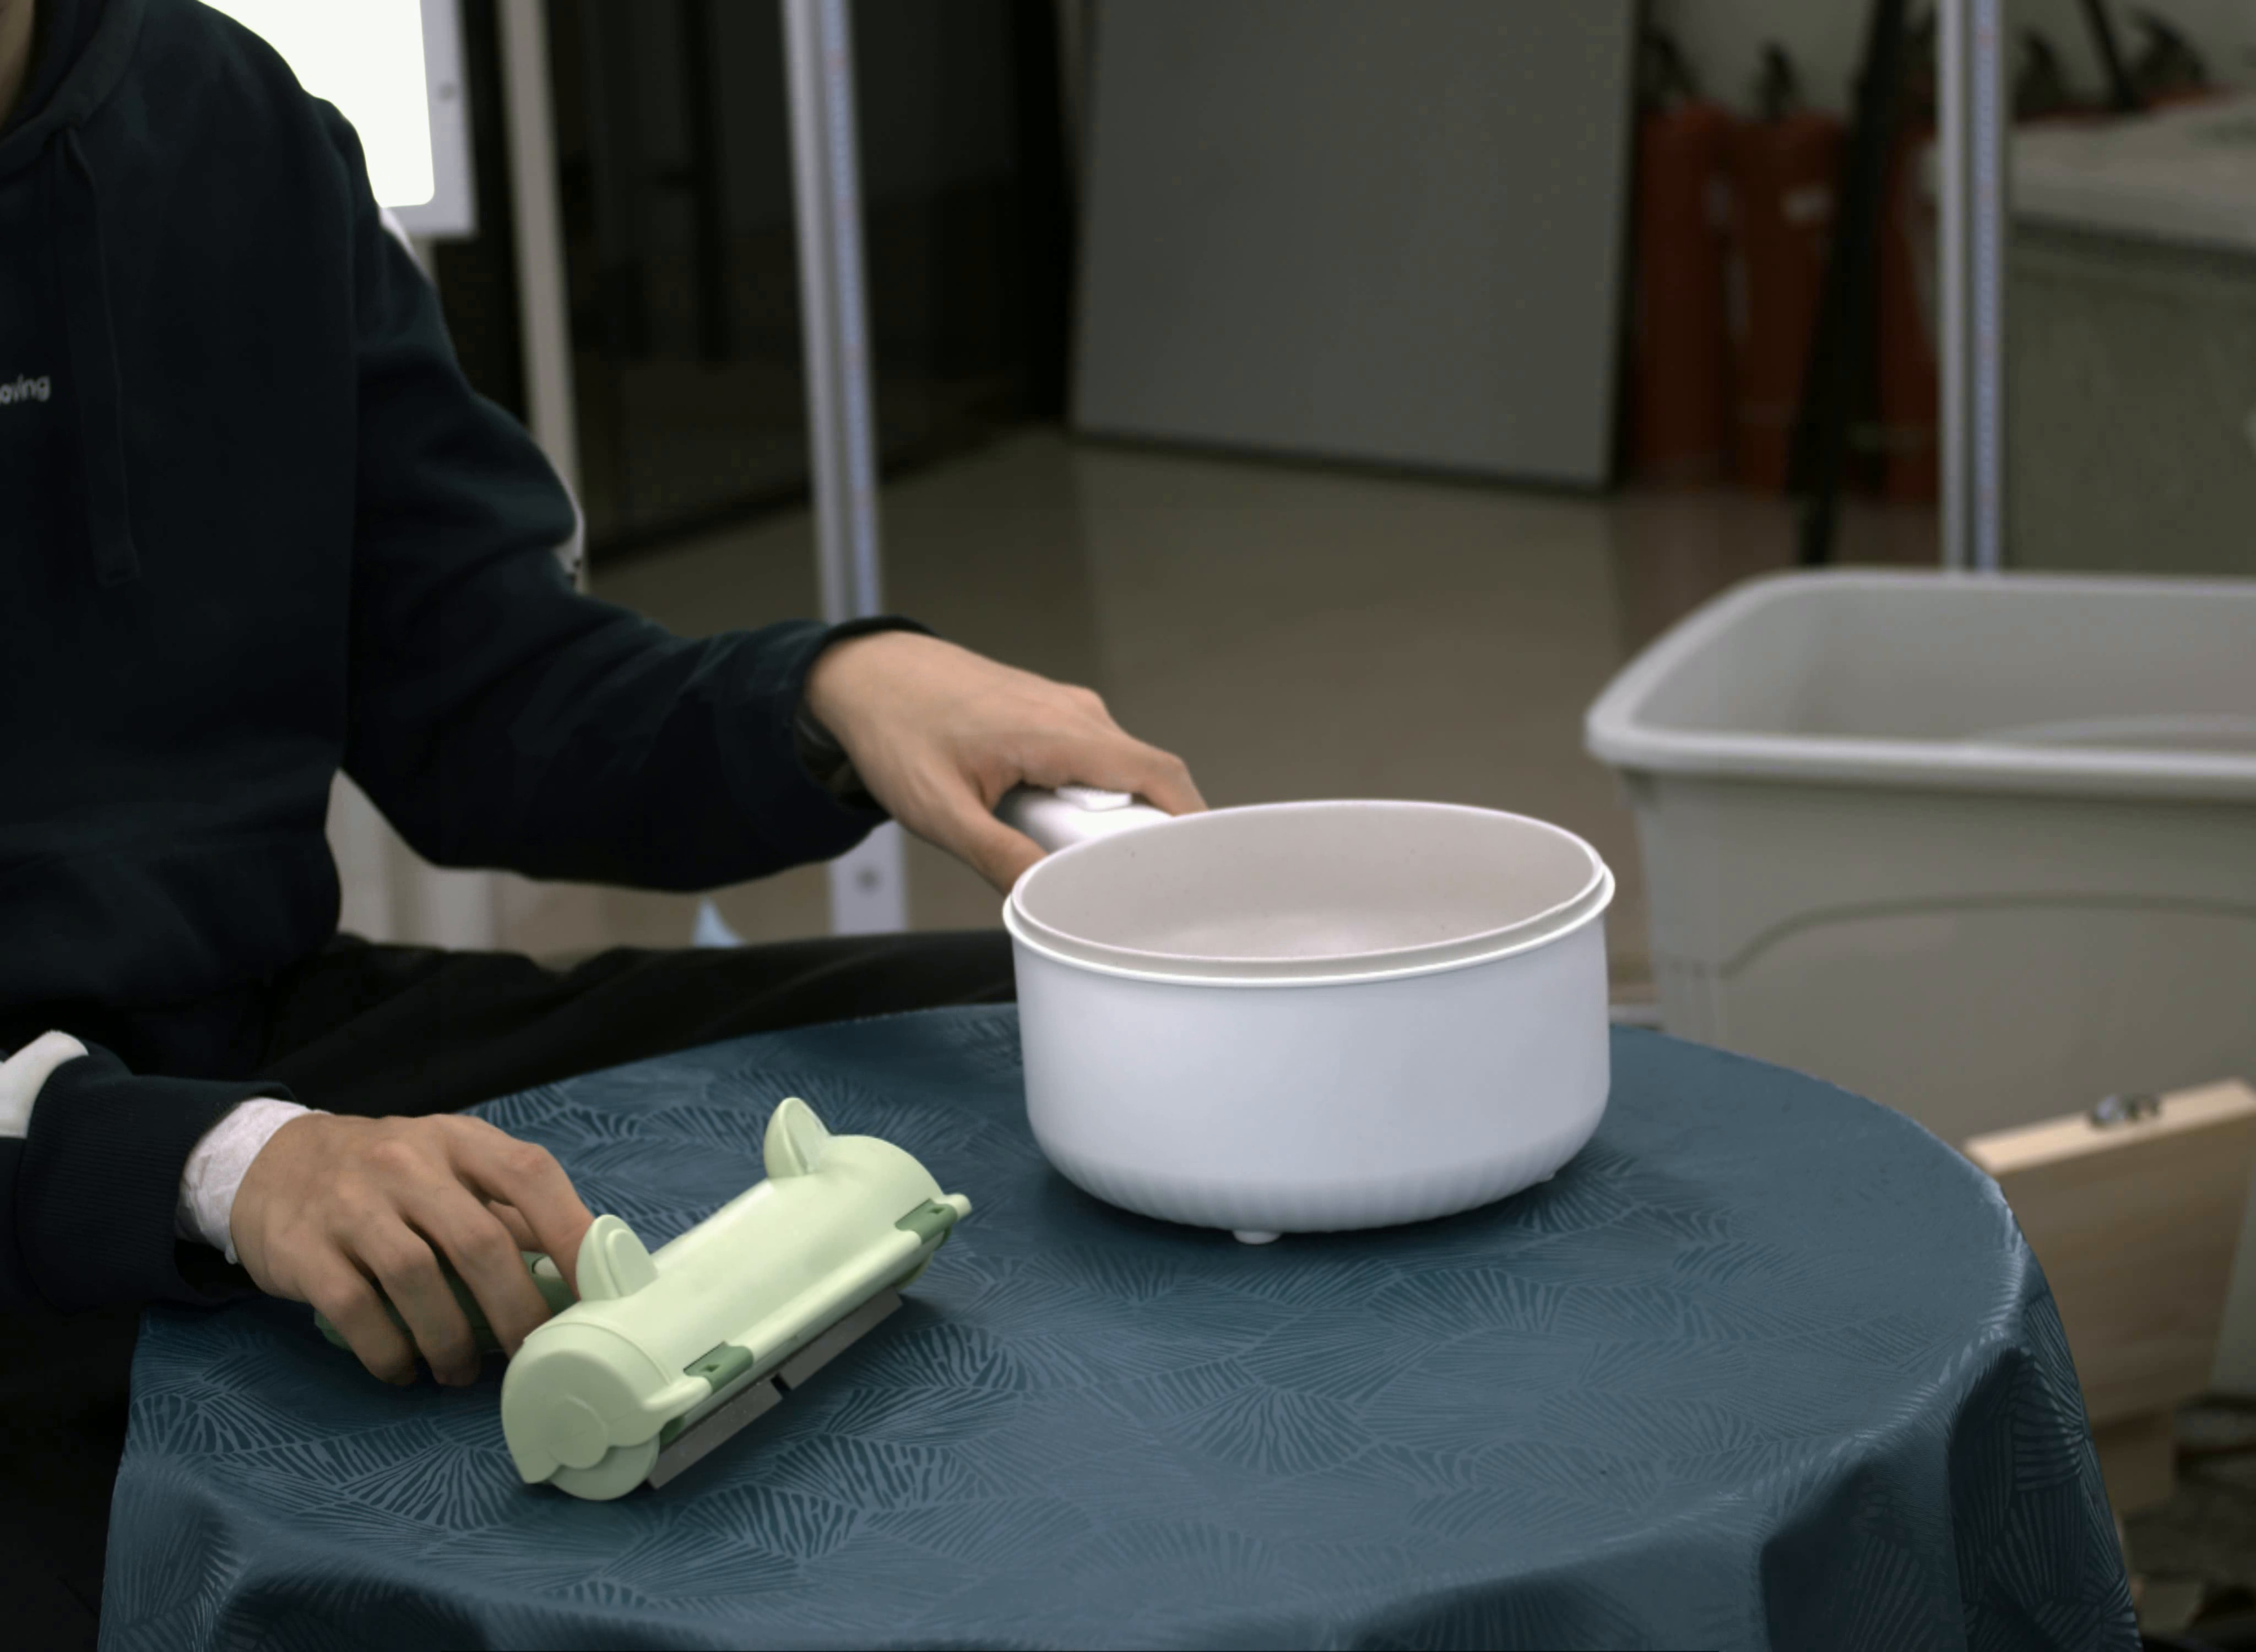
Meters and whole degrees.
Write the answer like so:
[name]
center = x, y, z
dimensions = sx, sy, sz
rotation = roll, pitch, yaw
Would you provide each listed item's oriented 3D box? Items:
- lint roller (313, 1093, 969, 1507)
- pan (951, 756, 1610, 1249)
[lint roller]
center = -0.167, 0.130, 1.626
dimensions = 0.183, 0.083, 0.196
rotation = 8, 18, 24
[pan]
center = 0.028, 0.053, 1.838
dimensions = 0.197, 0.103, 0.358
rotation = -11, 14, -24
